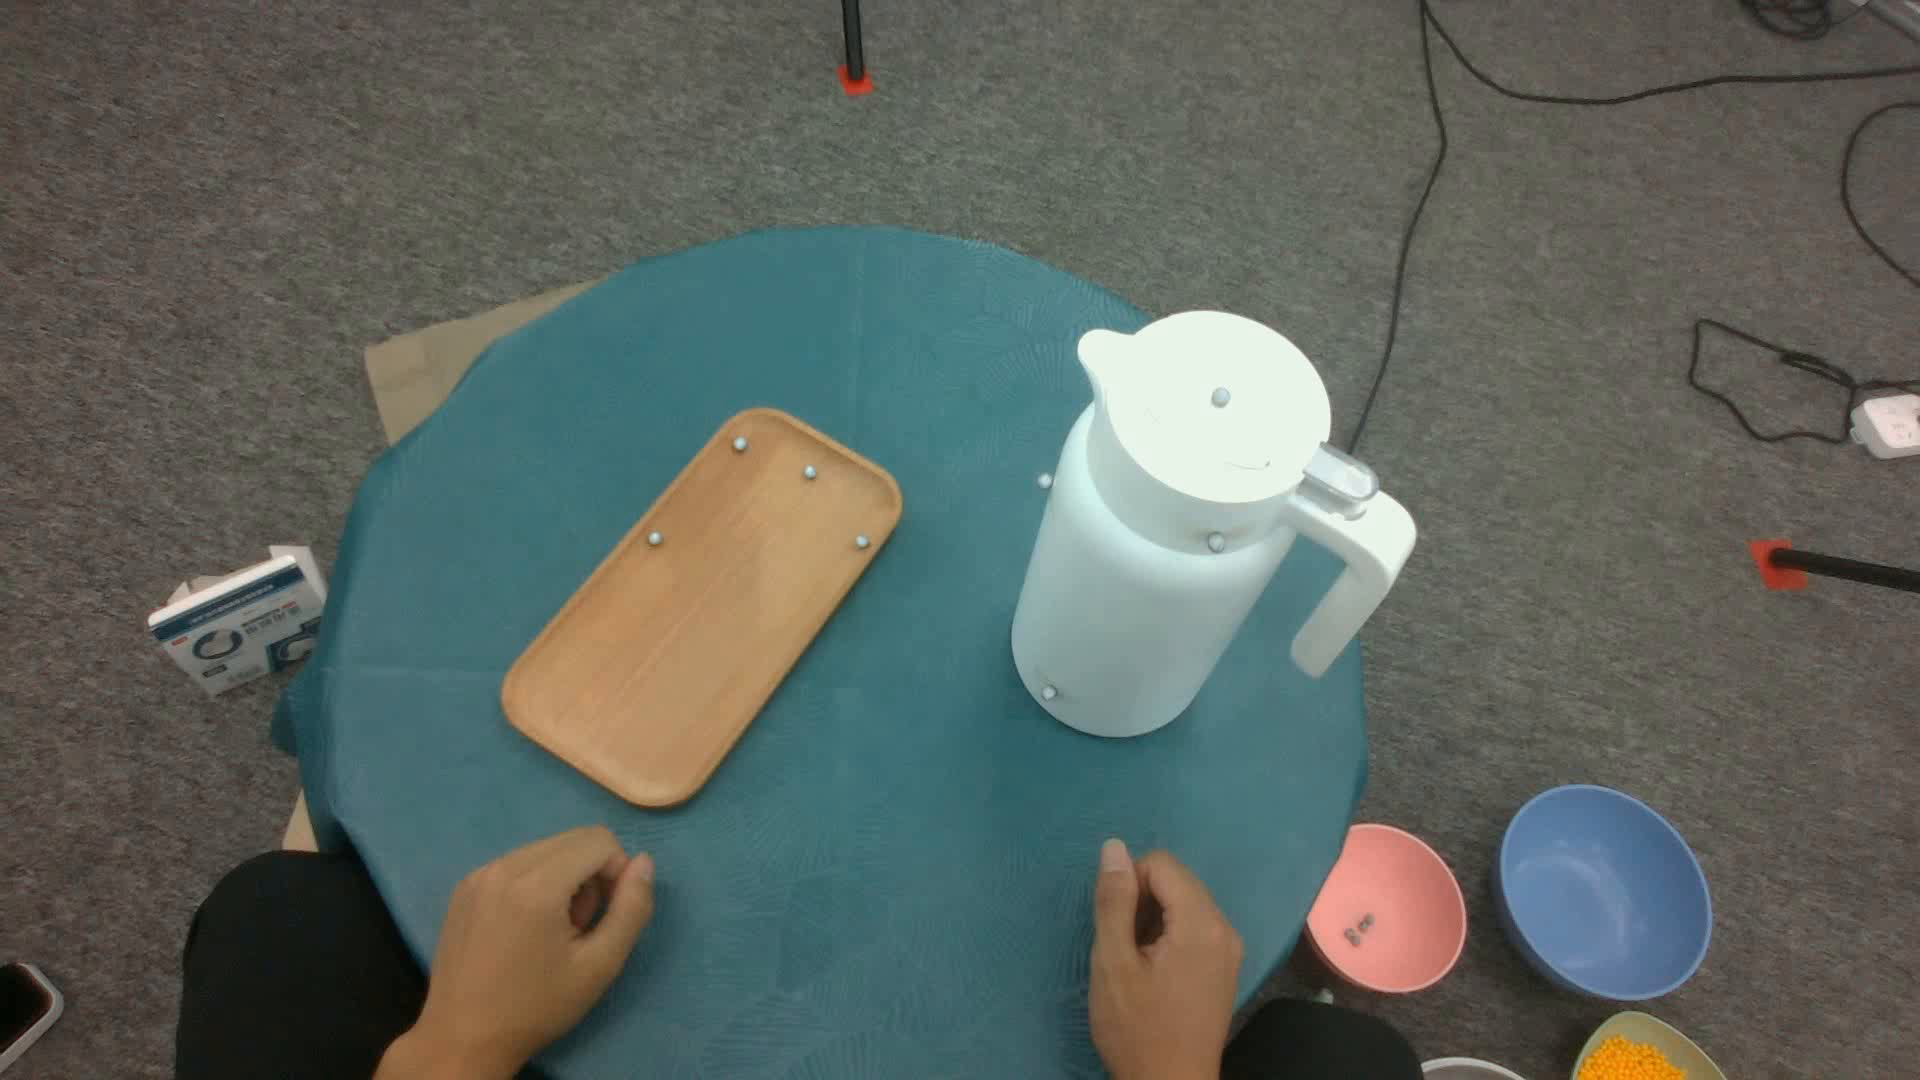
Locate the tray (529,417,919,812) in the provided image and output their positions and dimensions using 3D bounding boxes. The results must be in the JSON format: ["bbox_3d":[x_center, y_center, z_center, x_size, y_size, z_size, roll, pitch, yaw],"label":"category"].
[{"bbox_3d":[-0.134,0.037,0.818,0.130,0.023,0.252,29,64,14],"label":"tray"}]

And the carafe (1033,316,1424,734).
[{"bbox_3d":[0.124,0.010,0.713,0.173,0.267,0.124,30,62,11],"label":"carafe"}]
